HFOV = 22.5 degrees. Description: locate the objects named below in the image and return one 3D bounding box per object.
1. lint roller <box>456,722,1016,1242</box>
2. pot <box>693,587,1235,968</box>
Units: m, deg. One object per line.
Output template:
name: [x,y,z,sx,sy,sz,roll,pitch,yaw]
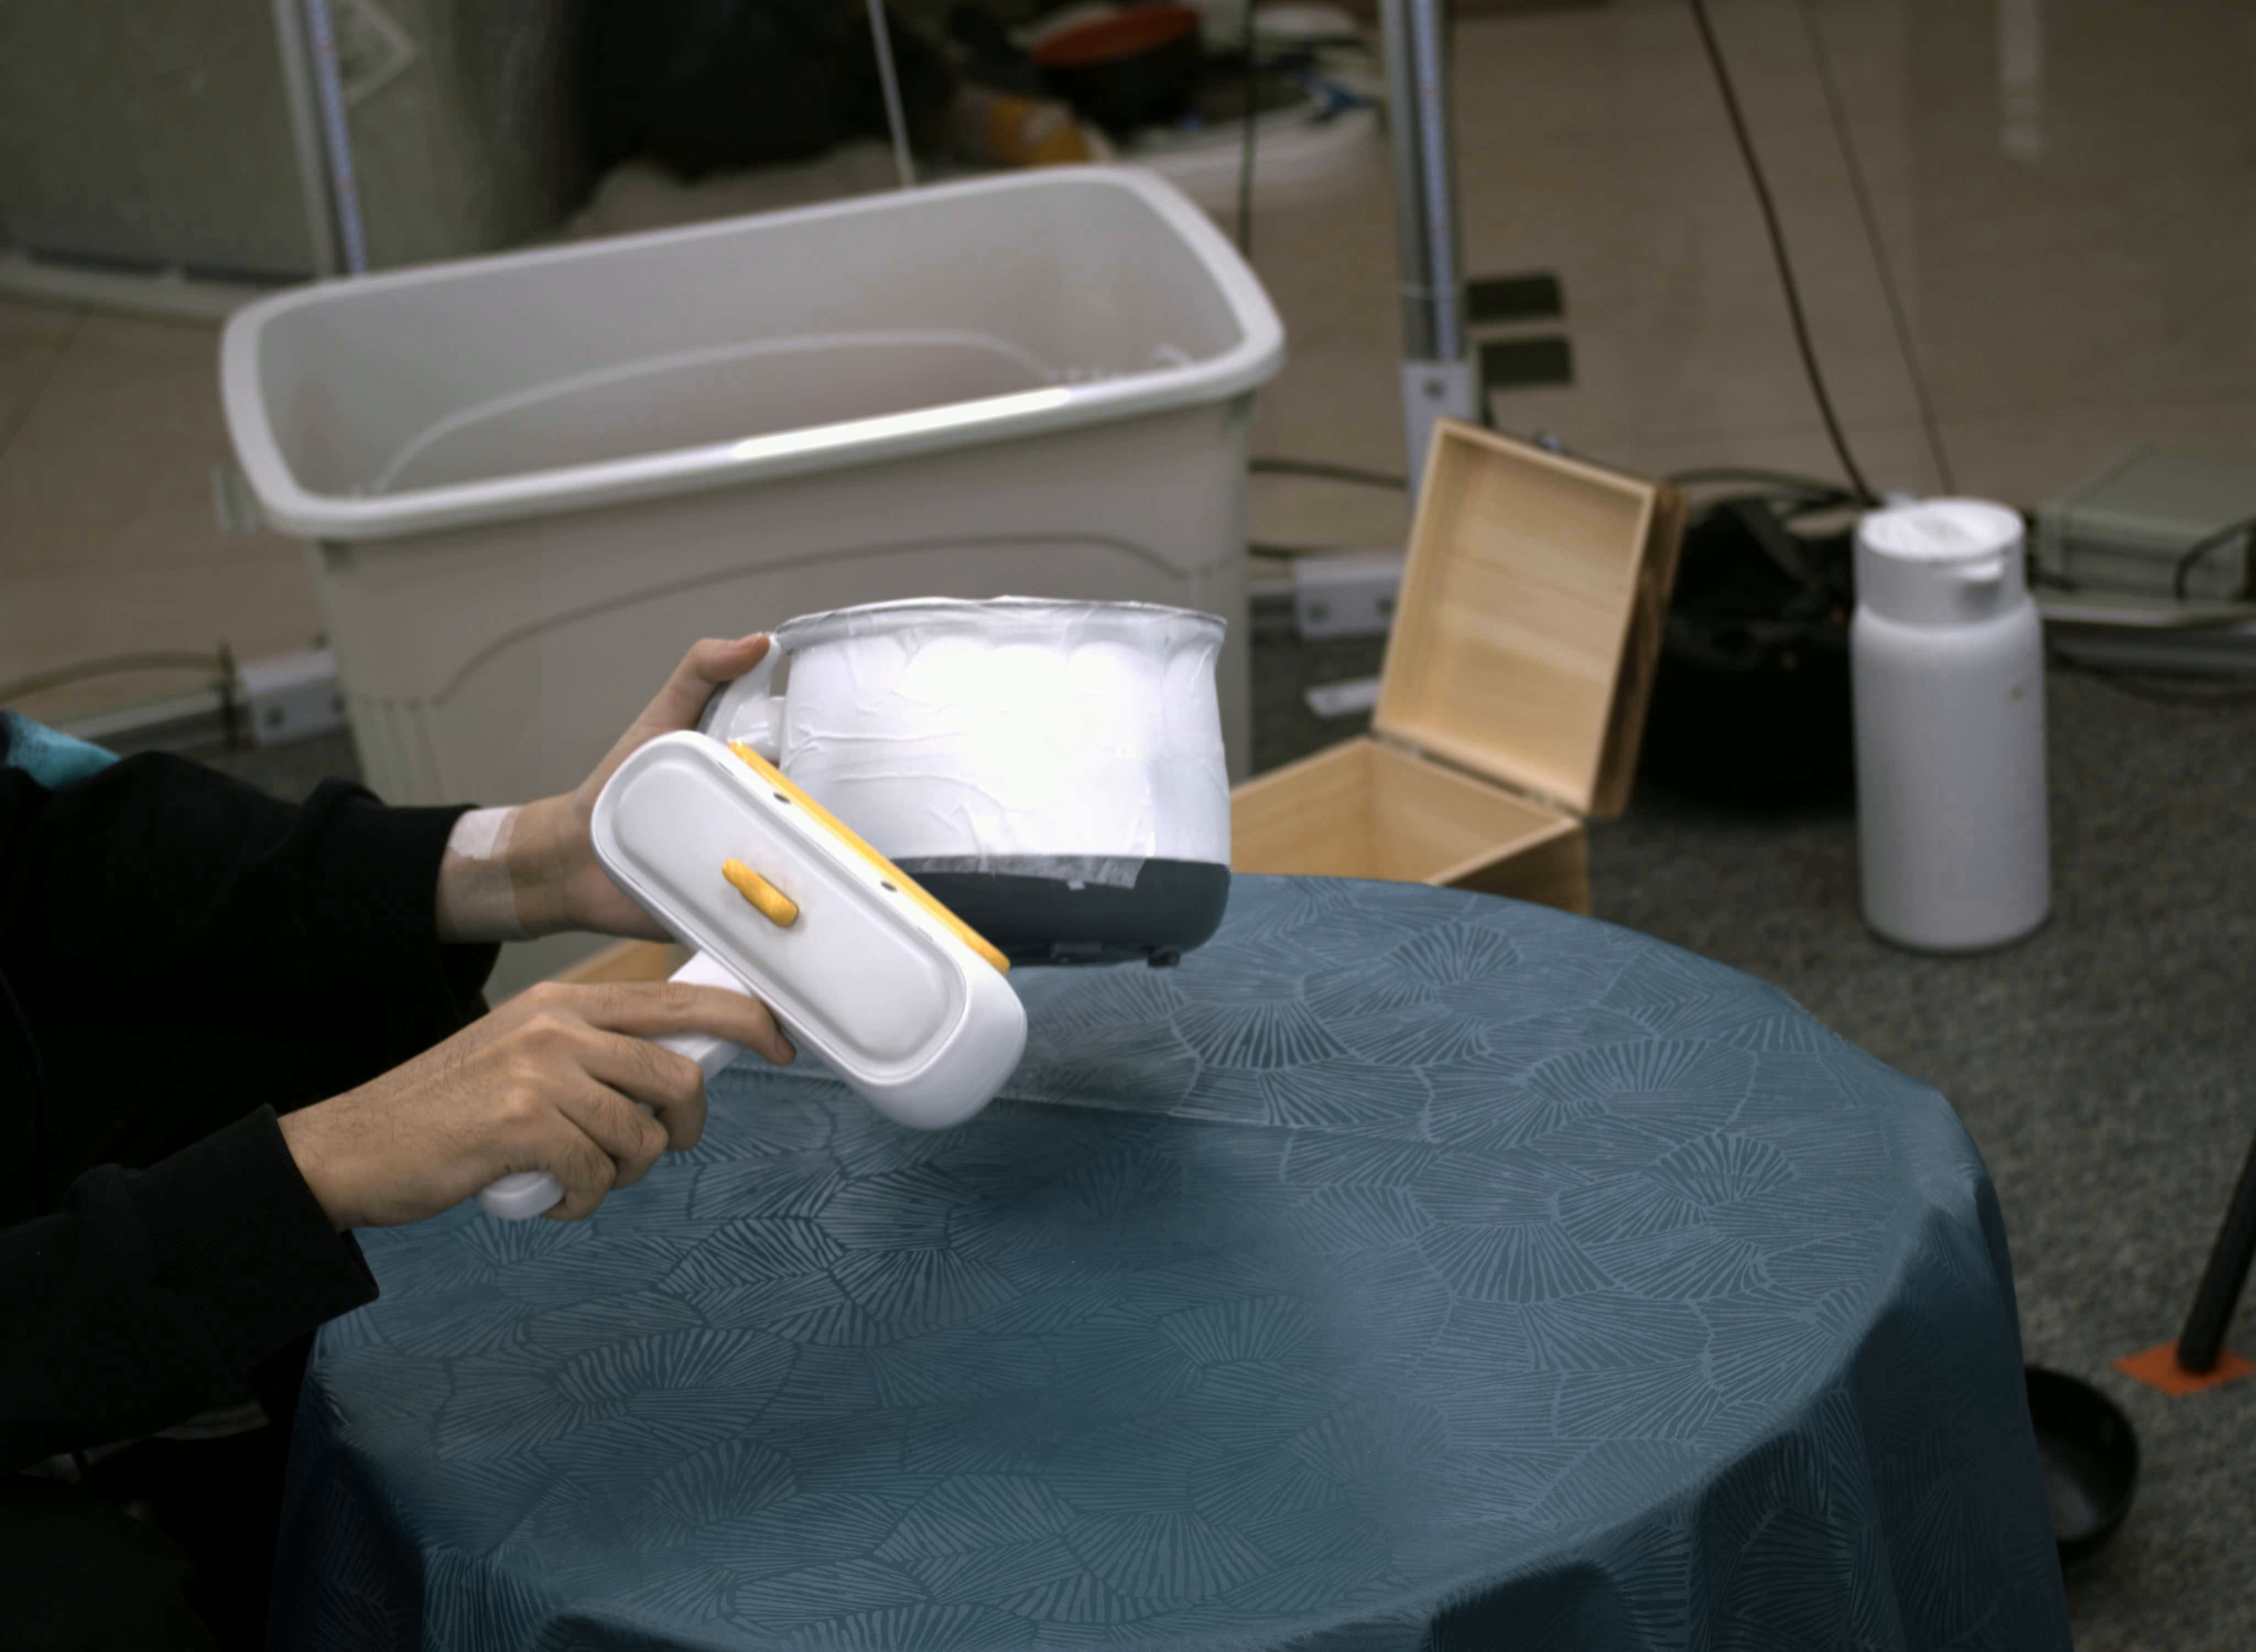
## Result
lint roller: [-0.160,0.073,2.008,0.191,0.075,0.191,36,79,22]
pot: [-0.074,-0.015,2.203,0.233,0.136,0.179,-2,-6,20]
